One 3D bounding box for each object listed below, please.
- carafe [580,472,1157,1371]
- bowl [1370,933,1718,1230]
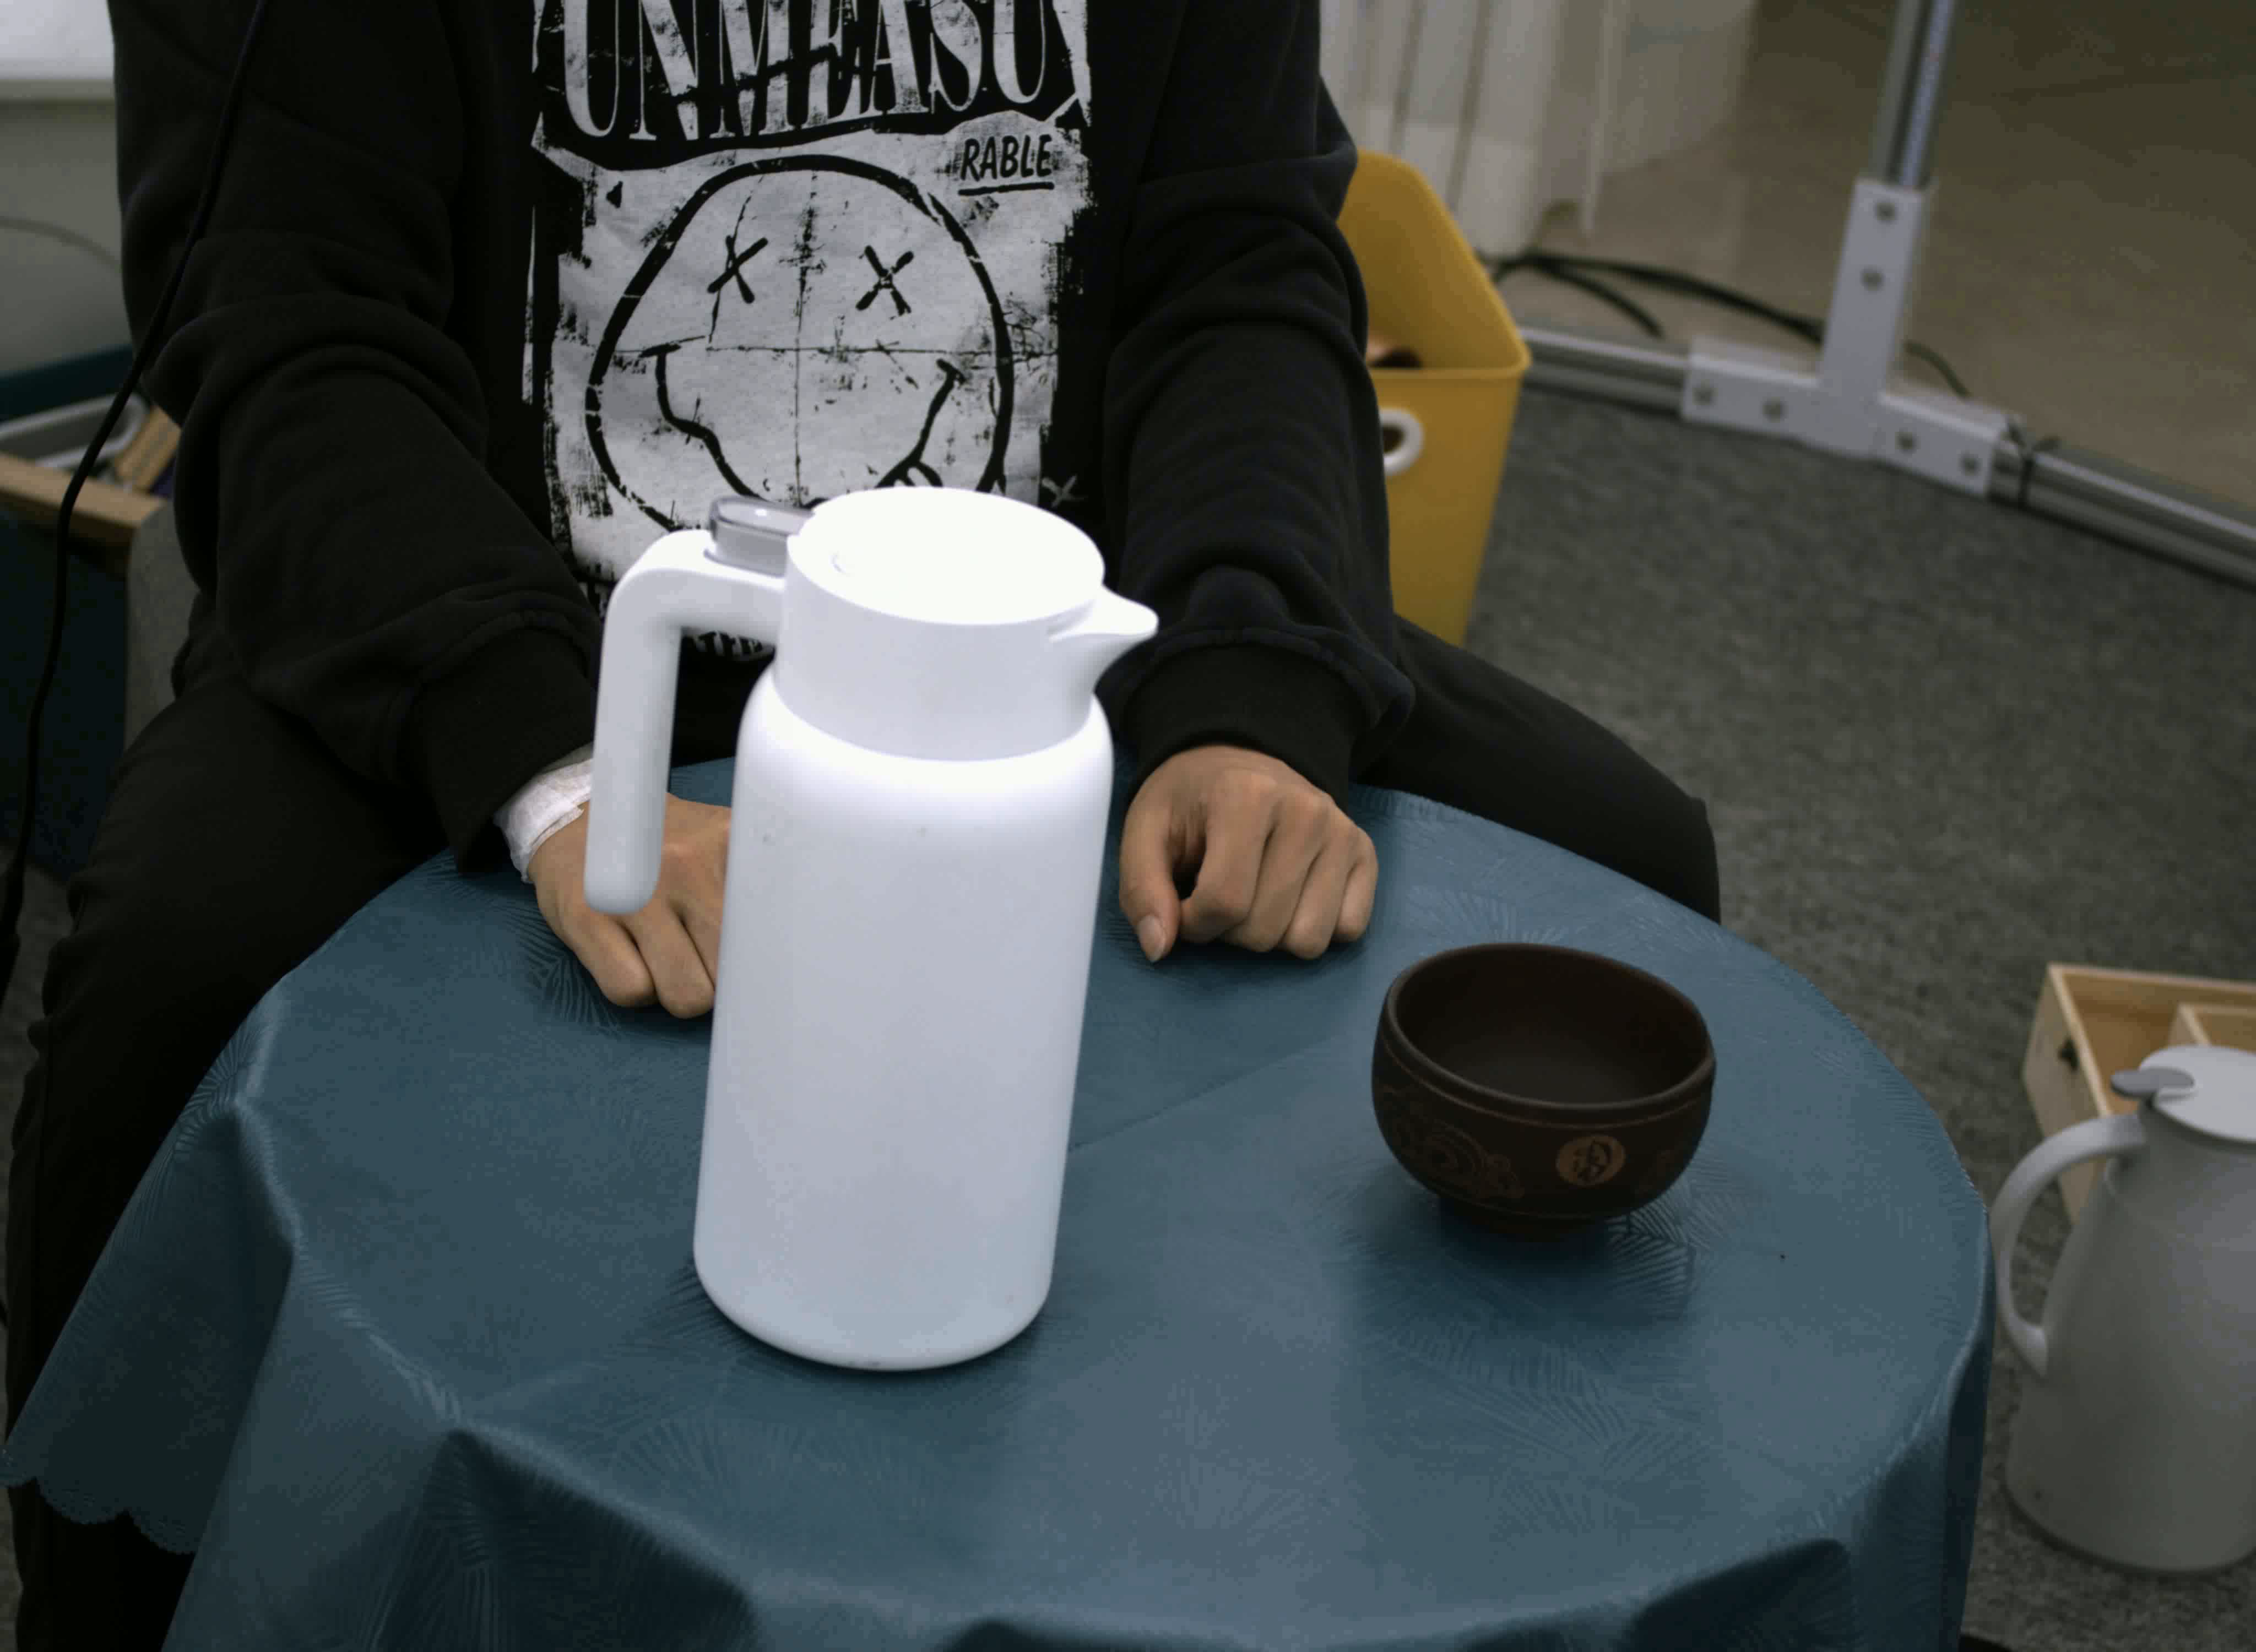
[{"bbox_3d":[-0.088,0.029,1.678,0.173,0.268,0.124,12,28,10],"label":"carafe"},{"bbox_3d":[0.139,0.094,1.813,0.117,0.069,0.119,4,27,-3],"label":"bowl"}]
